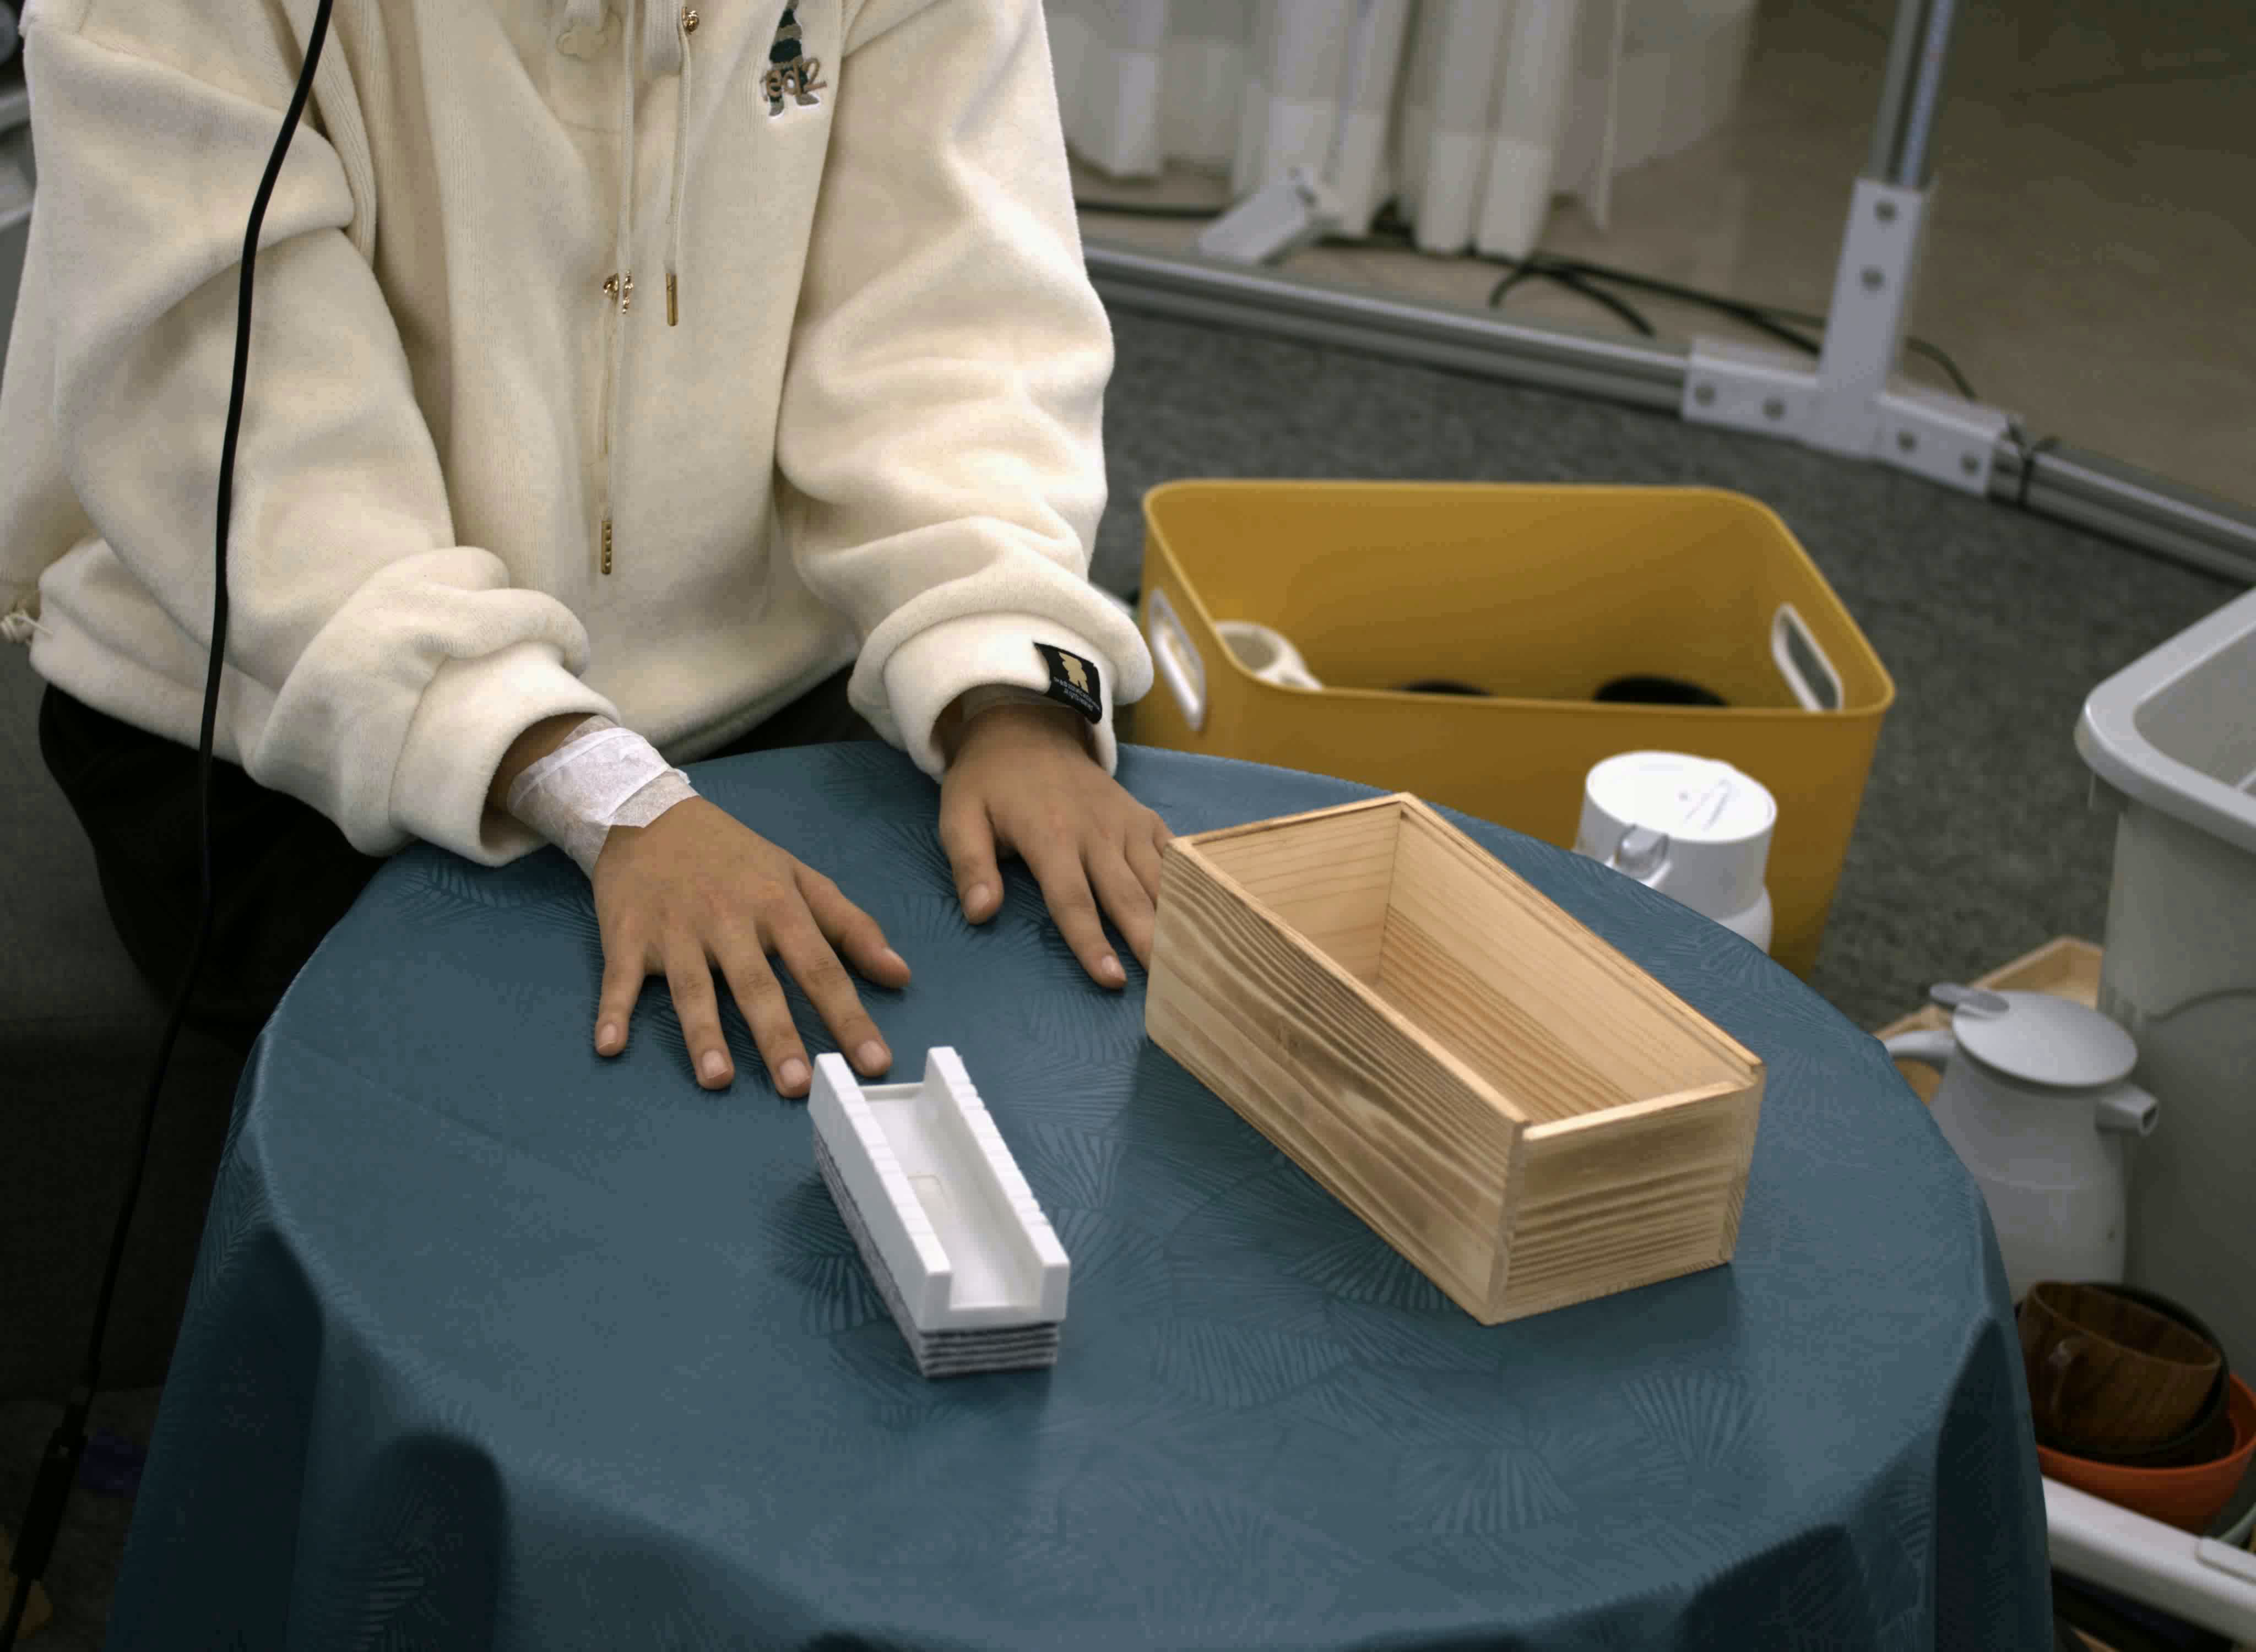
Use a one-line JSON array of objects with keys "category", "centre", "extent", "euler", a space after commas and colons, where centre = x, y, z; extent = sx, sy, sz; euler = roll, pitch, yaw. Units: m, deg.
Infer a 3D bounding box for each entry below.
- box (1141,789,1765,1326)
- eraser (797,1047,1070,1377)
[{"category": "box", "centre": [0.108, 0.076, 1.834], "extent": [0.107, 0.080, 0.213], "euler": [-11, 32, -32]}, {"category": "eraser", "centre": [-0.065, 0.124, 1.734], "extent": [0.049, 0.046, 0.135], "euler": [-6, 31, -20]}]
